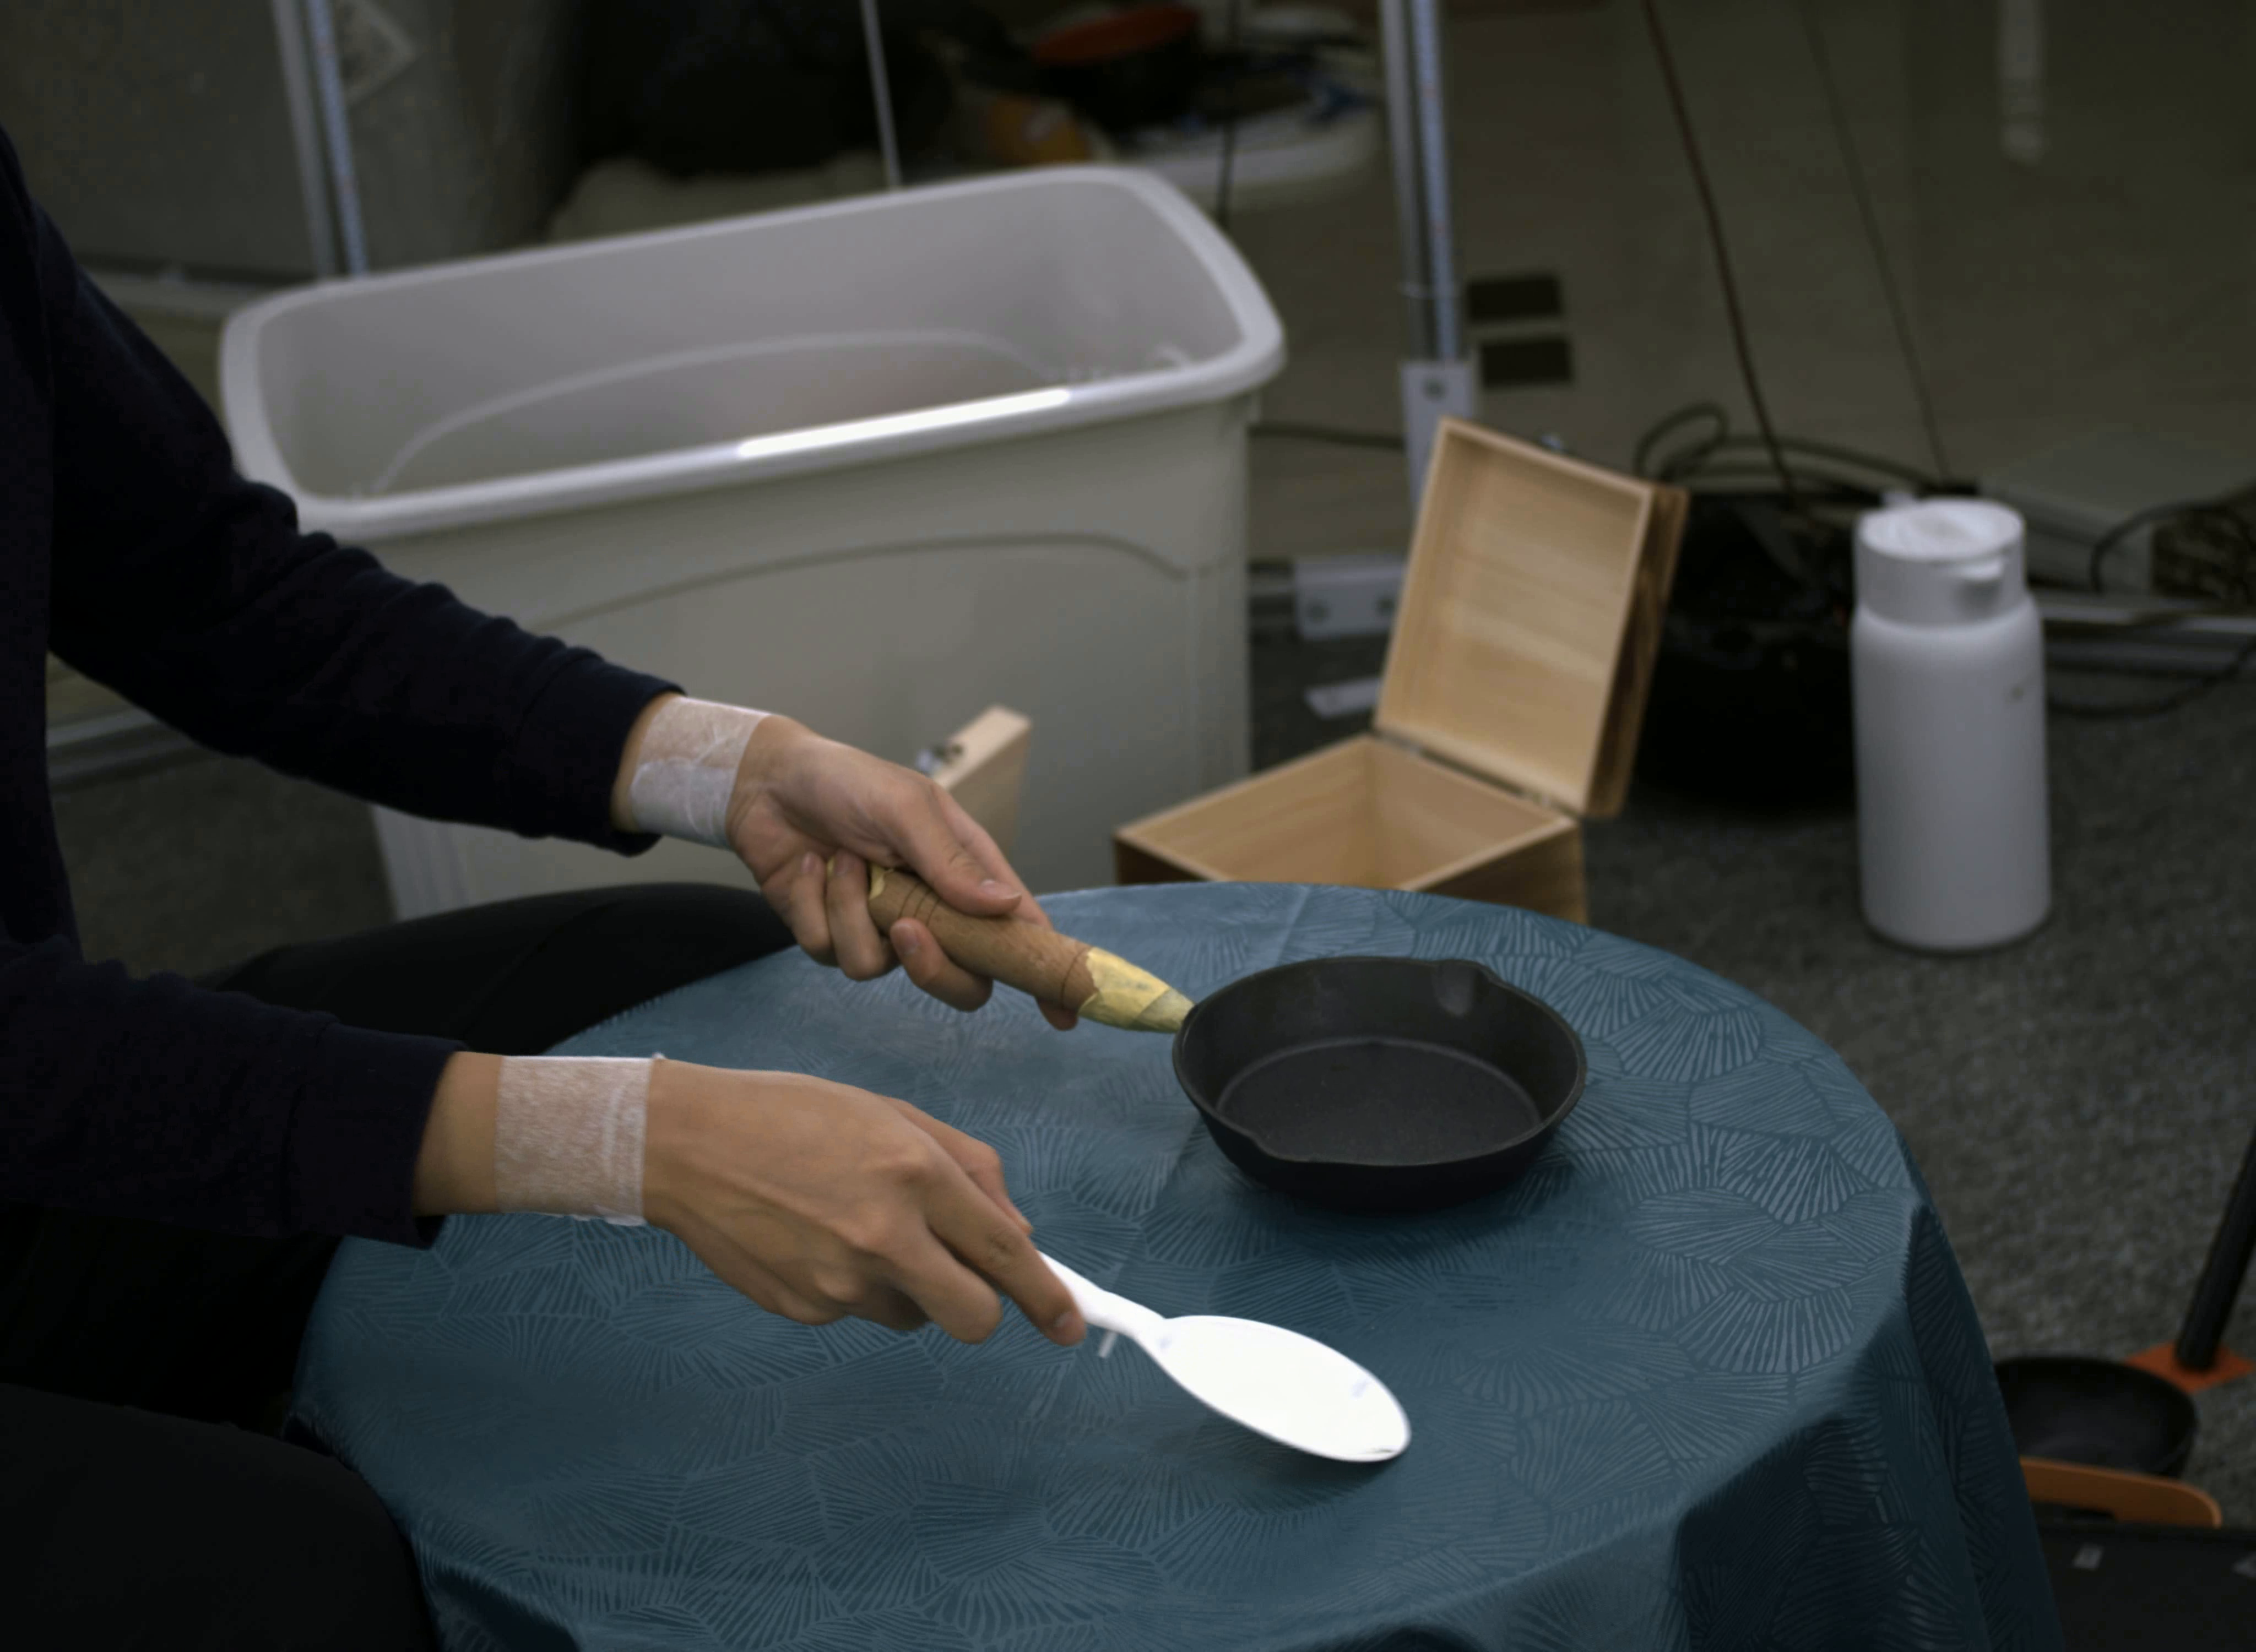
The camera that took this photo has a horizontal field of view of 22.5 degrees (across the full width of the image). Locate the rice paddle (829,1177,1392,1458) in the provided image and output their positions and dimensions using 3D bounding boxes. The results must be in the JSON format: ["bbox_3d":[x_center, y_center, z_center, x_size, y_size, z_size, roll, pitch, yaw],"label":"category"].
[{"bbox_3d":[-0.003,0.171,1.960,0.205,0.030,0.068,21,29,-4],"label":"rice paddle"}]

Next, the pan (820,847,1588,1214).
[{"bbox_3d":[0.022,0.072,2.182,0.322,0.050,0.167,18,32,25],"label":"pan"}]
